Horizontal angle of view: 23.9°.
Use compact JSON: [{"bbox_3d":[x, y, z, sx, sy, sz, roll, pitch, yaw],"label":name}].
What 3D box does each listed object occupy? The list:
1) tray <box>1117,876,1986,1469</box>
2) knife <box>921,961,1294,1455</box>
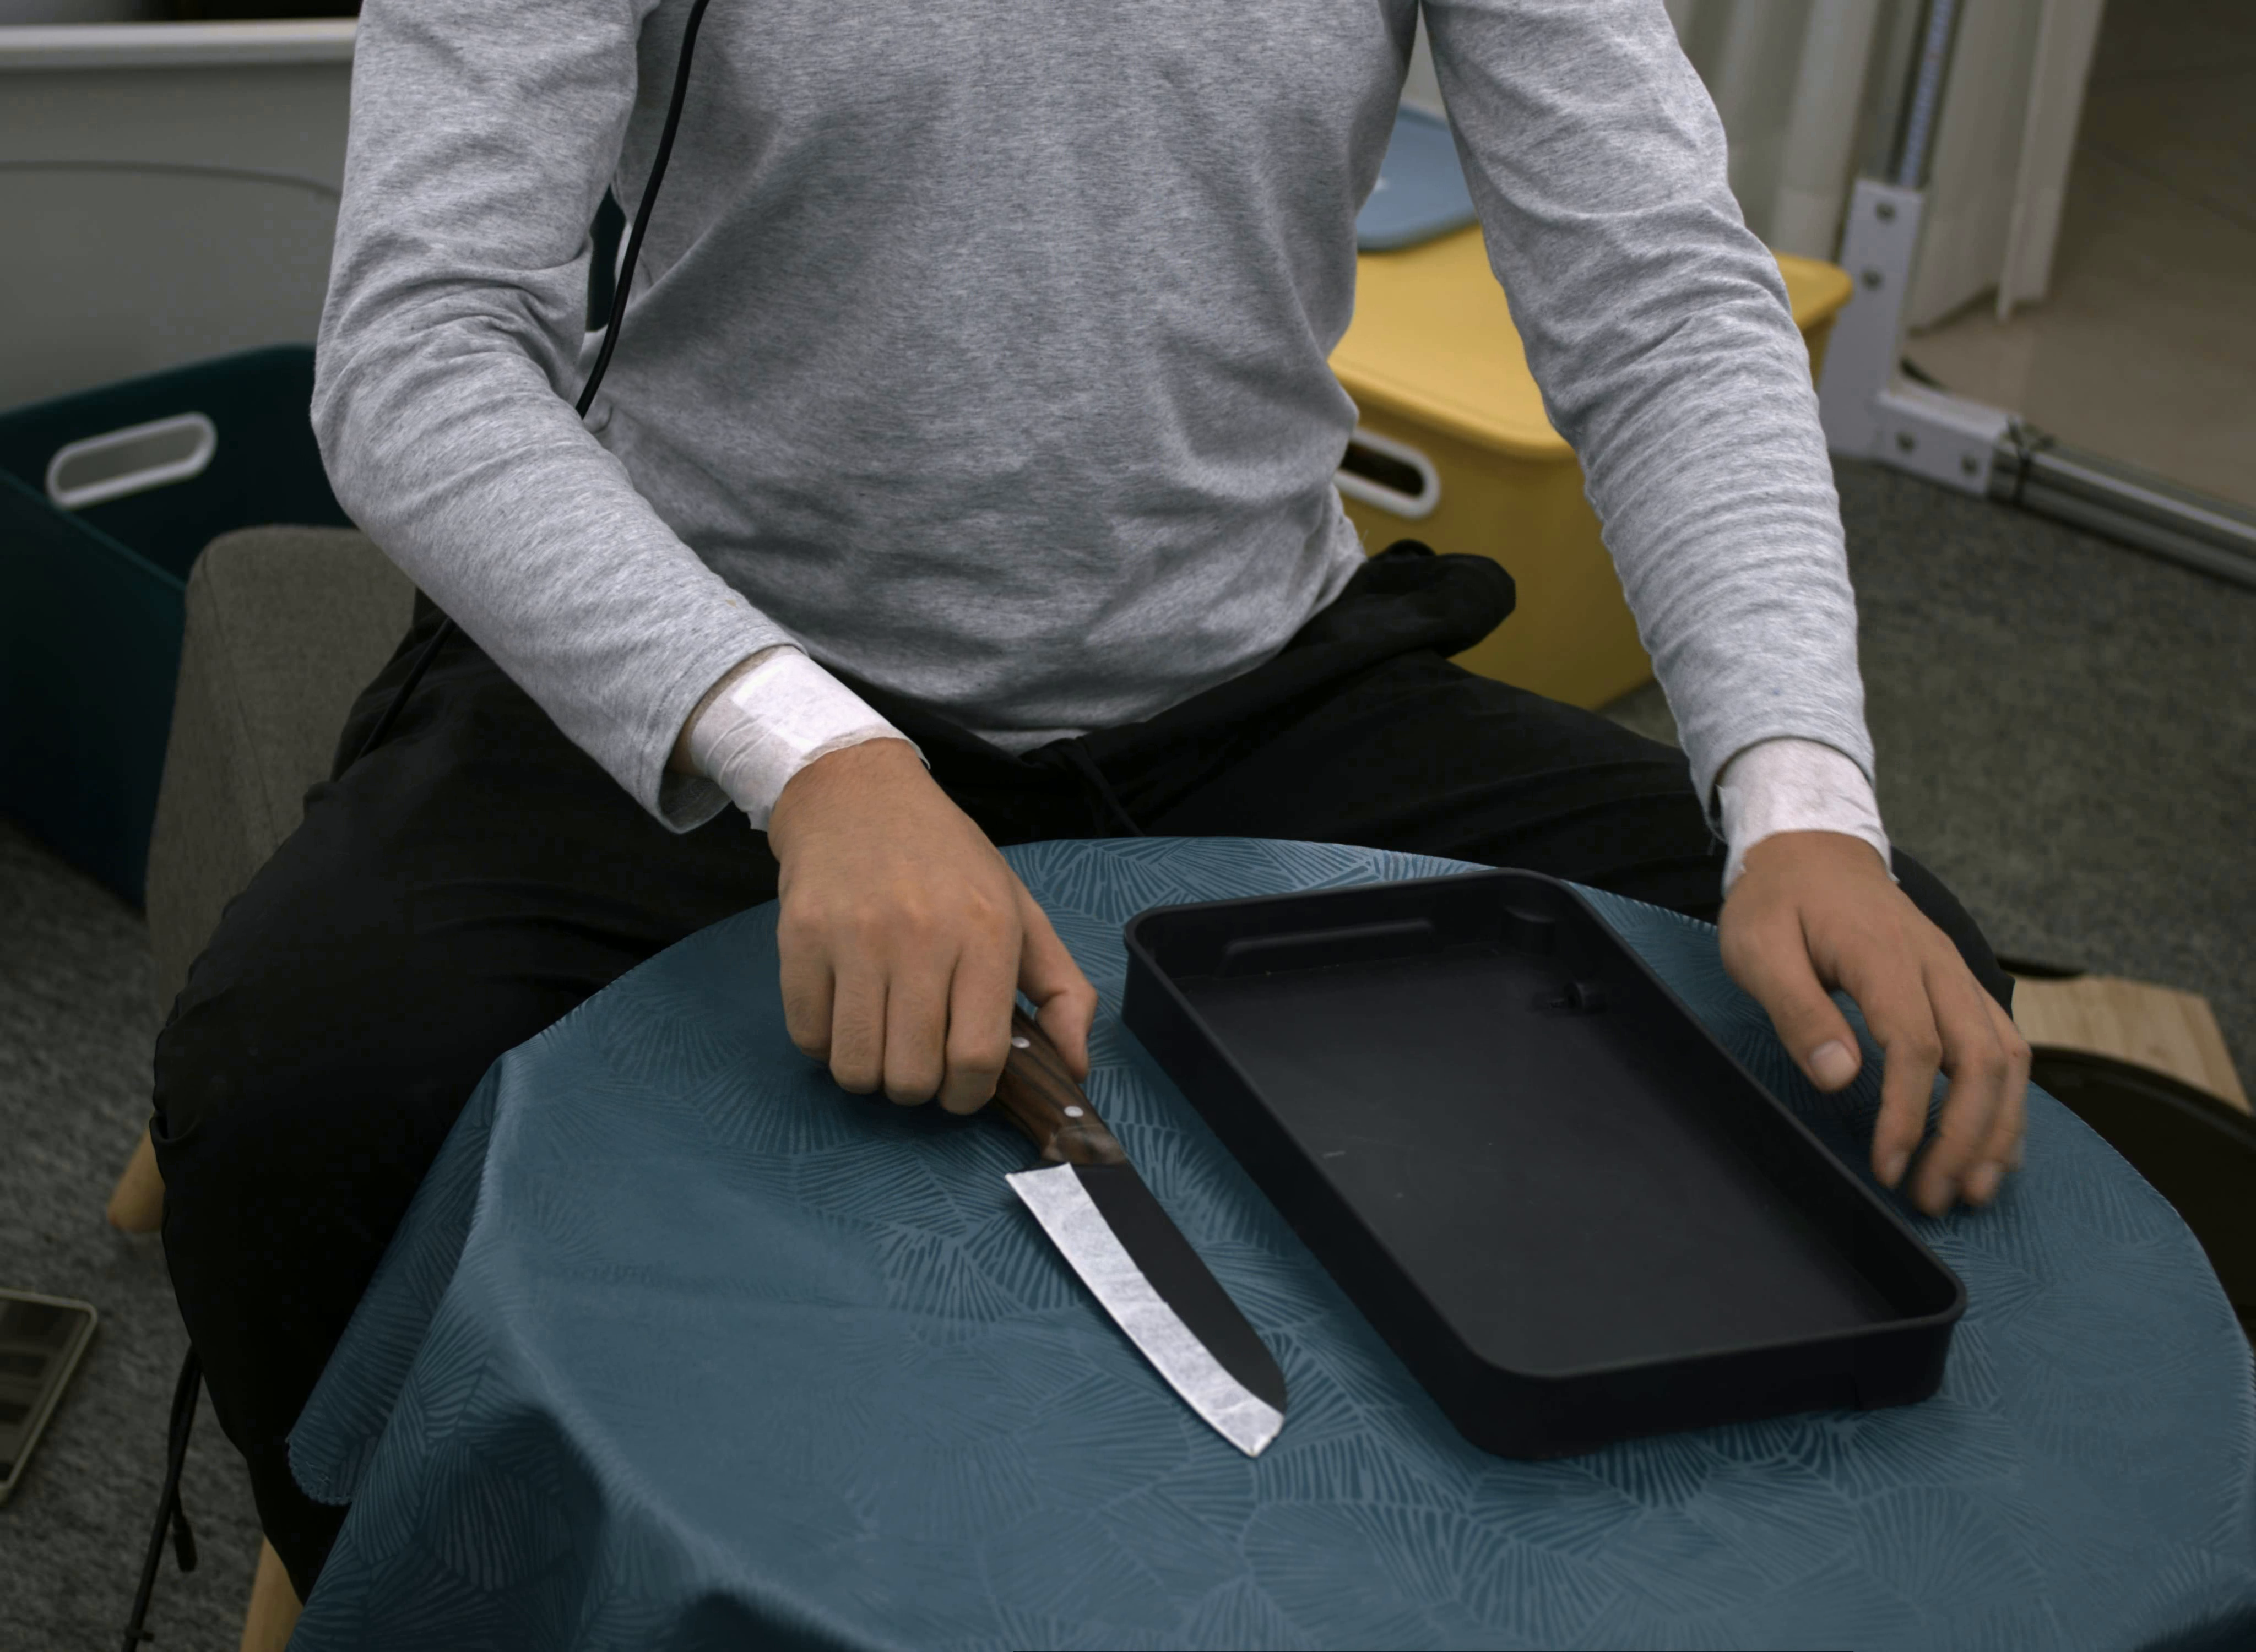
[{"bbox_3d":[0.137,0.112,1.821,0.183,0.037,0.321,-7,29,-25],"label":"tray"},{"bbox_3d":[-0.010,0.126,1.782,0.050,0.020,0.292,-8,32,-21],"label":"knife"}]
